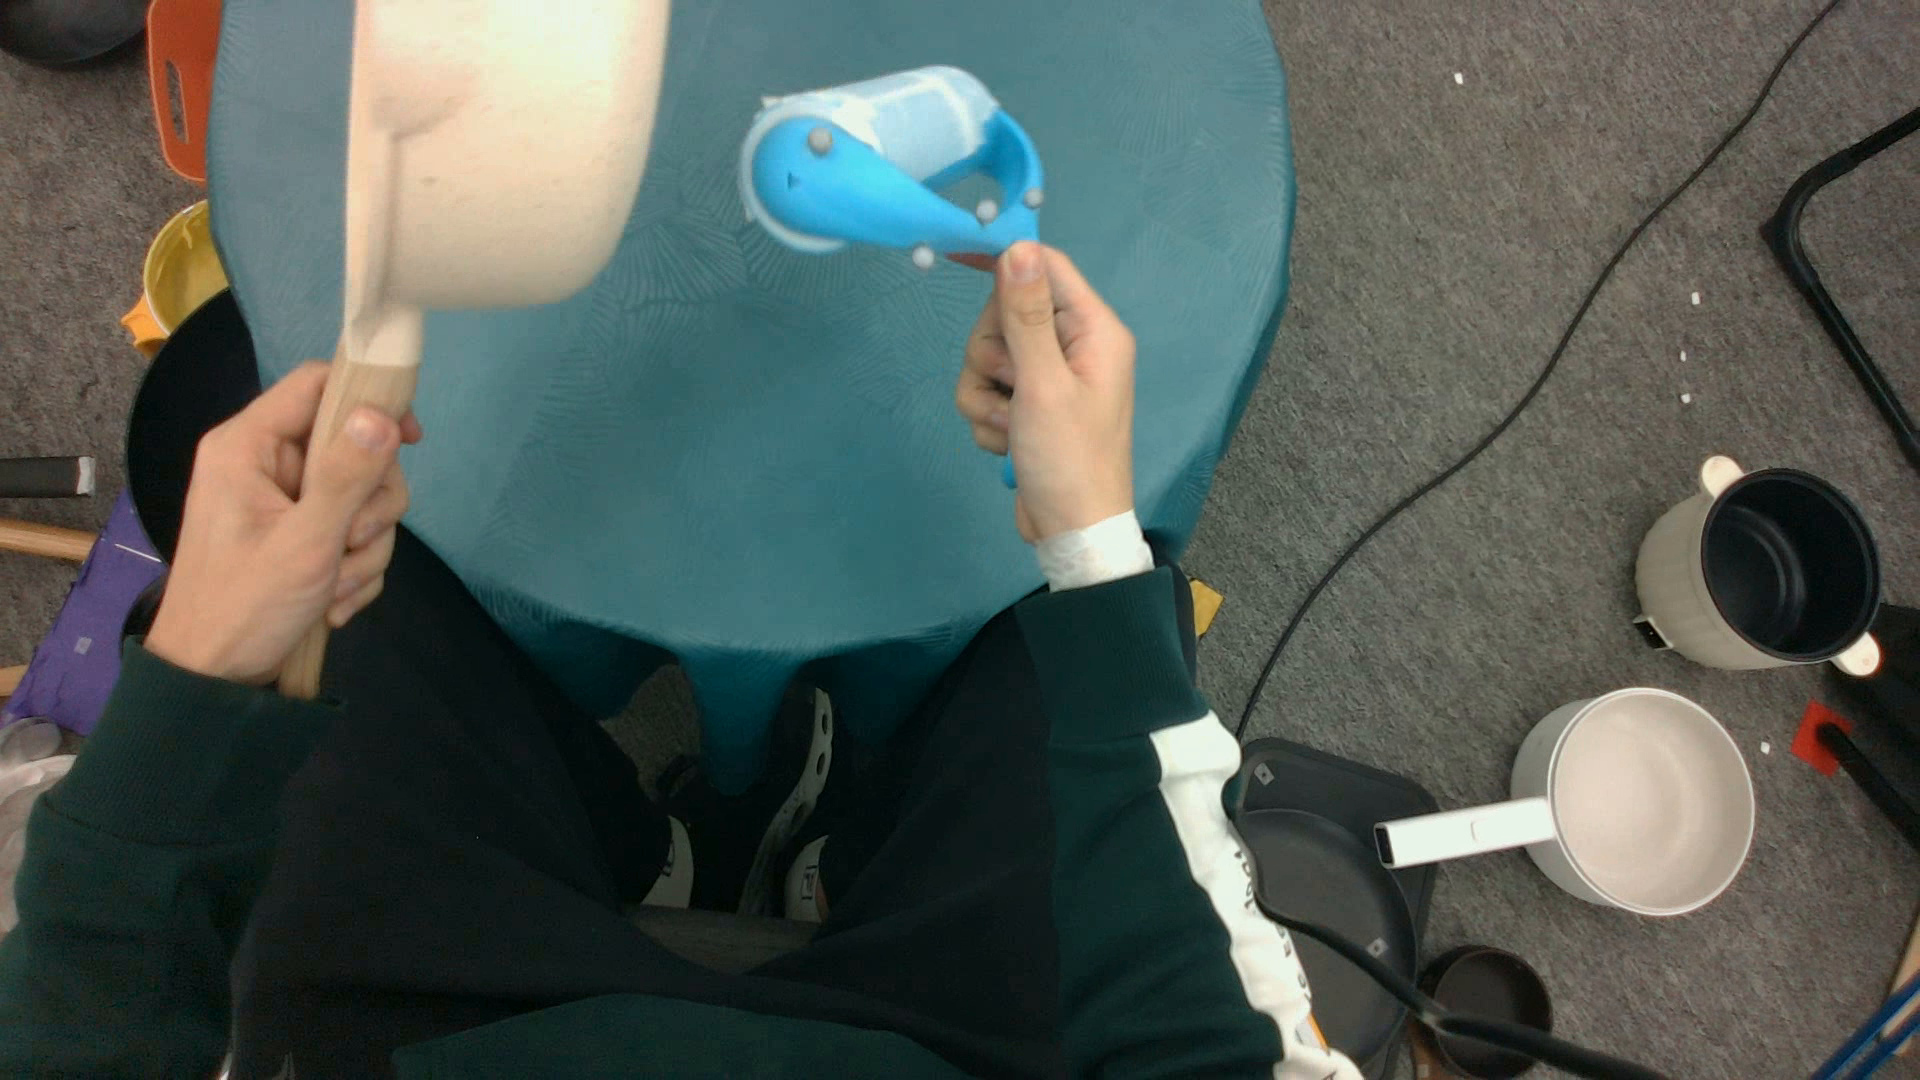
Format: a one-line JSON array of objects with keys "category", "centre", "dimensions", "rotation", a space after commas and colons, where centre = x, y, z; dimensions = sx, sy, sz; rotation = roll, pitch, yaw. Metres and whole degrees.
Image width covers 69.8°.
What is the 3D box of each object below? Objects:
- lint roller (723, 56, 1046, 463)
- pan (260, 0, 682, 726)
[{"category": "lint roller", "centre": [0.000, -0.125, 0.591], "dimensions": [0.067, 0.230, 0.180], "rotation": [-26, 100, 25]}, {"category": "pan", "centre": [-0.198, -0.124, 0.513], "dimensions": [0.102, 0.263, 0.433], "rotation": [-2, 118, -35]}]
